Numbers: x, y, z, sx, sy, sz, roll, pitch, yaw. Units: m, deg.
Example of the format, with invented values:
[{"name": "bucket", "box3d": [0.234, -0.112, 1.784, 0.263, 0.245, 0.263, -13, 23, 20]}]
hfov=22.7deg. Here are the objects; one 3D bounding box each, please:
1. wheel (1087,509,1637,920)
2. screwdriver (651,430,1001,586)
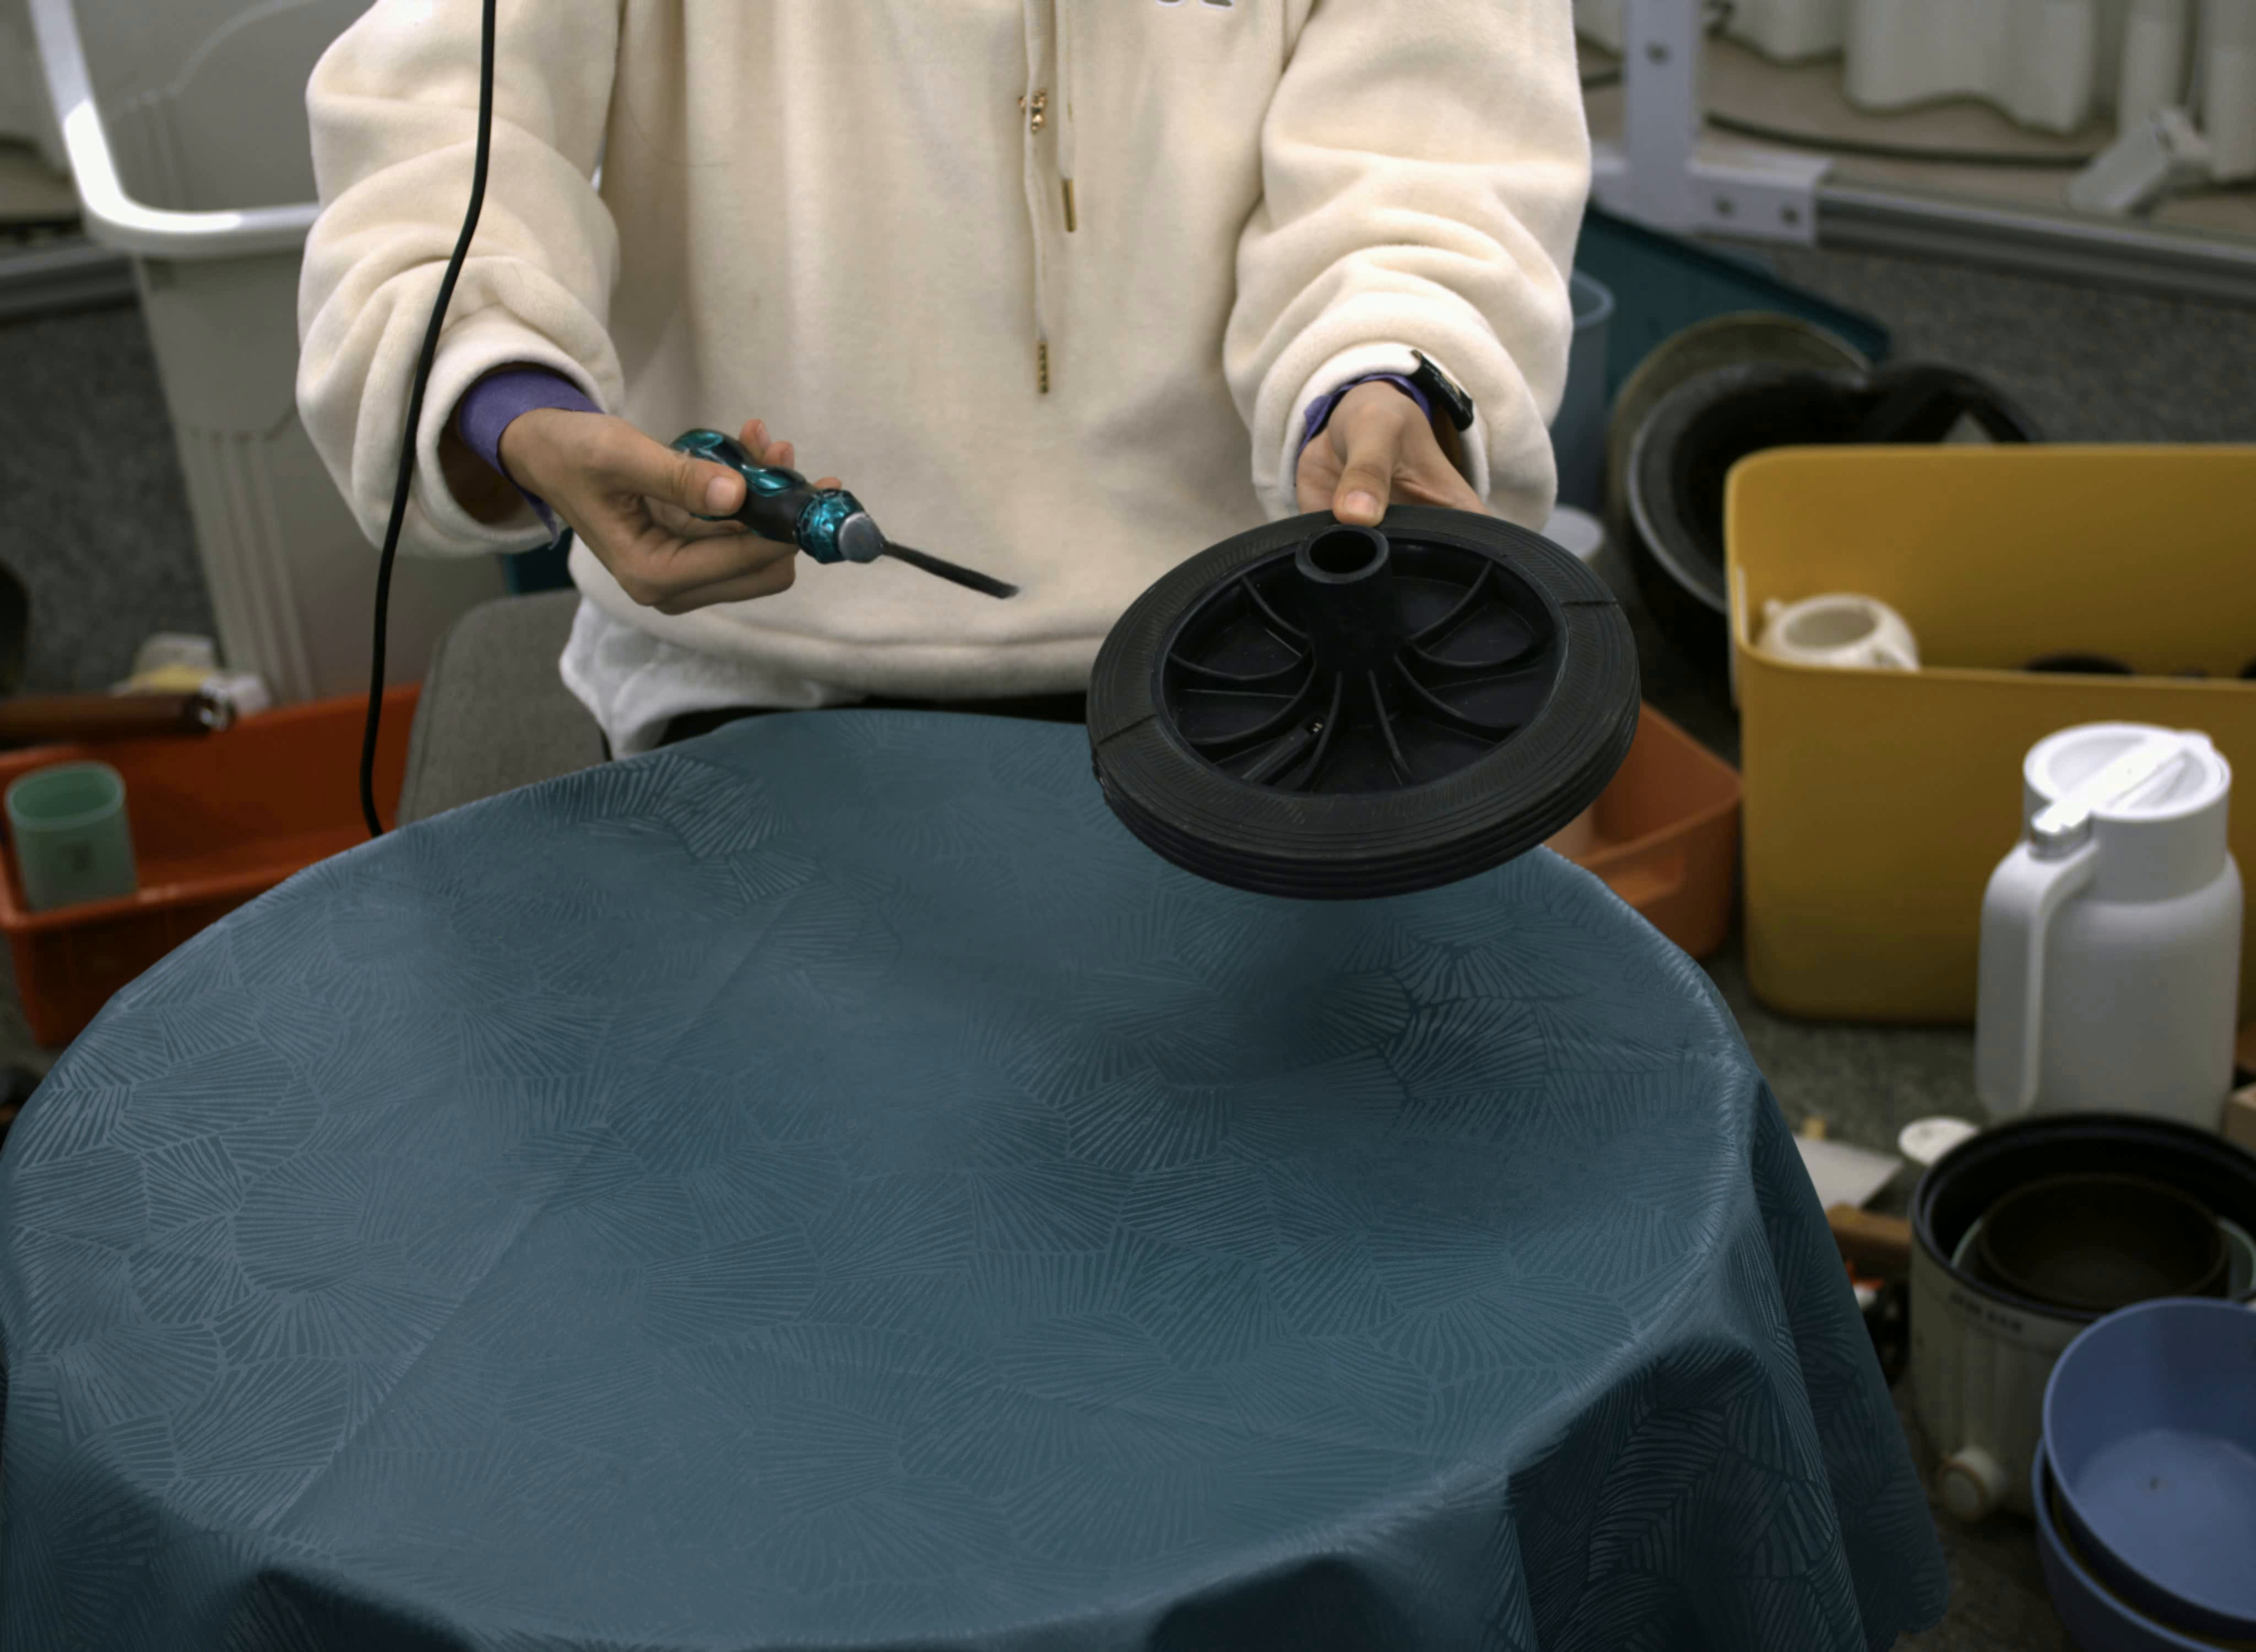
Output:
[{"name": "wheel", "box3d": [0.075, -0.056, 1.888, 0.186, 0.078, 0.194, 9, 45, 20]}, {"name": "screwdriver", "box3d": [-0.103, -0.107, 1.951, 0.034, 0.033, 0.189, -22, 28, -34]}]
